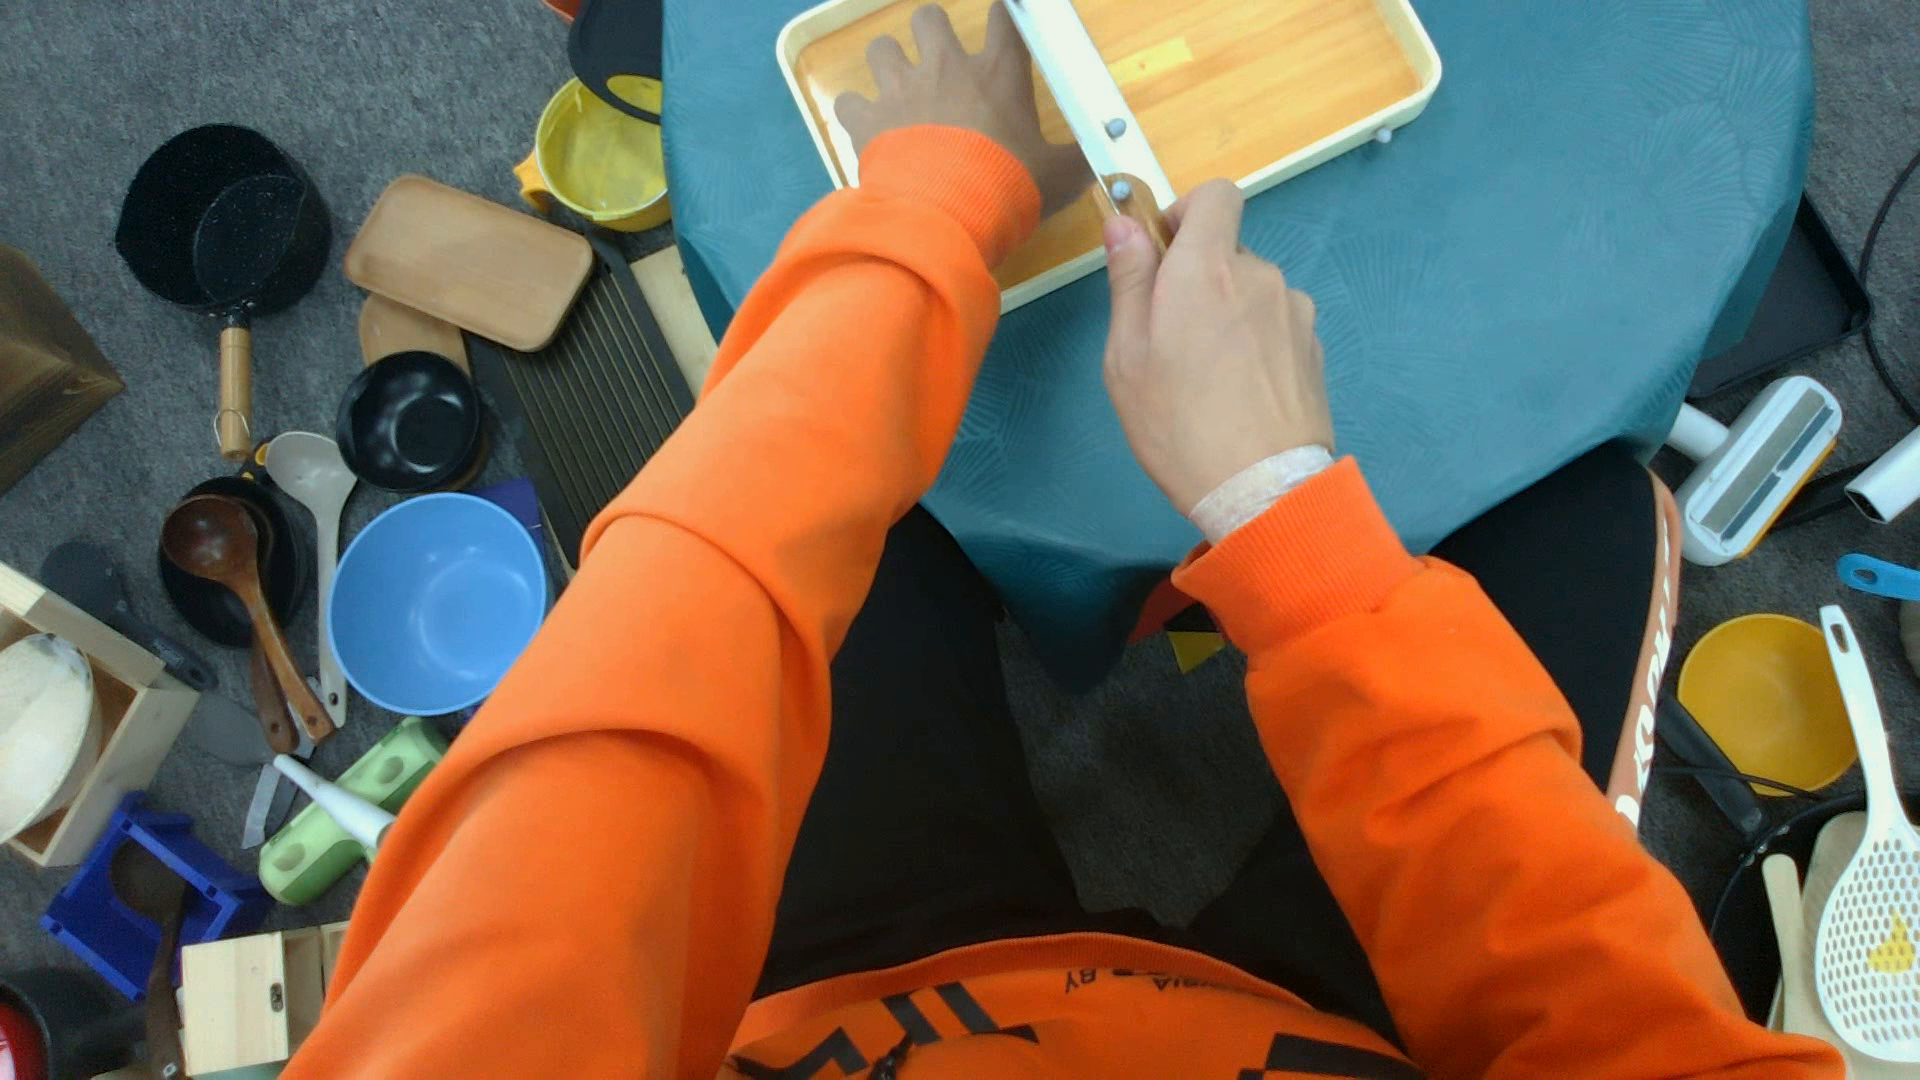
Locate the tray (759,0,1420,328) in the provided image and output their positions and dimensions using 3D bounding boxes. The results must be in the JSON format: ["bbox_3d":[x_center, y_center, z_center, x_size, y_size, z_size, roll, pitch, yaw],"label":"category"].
[{"bbox_3d":[0.063,-0.252,0.718,0.300,0.027,0.192,-25,78,1],"label":"tray"}]

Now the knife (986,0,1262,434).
[{"bbox_3d":[0.055,-0.182,0.598,0.021,0.093,0.306,-32,81,27],"label":"knife"}]
